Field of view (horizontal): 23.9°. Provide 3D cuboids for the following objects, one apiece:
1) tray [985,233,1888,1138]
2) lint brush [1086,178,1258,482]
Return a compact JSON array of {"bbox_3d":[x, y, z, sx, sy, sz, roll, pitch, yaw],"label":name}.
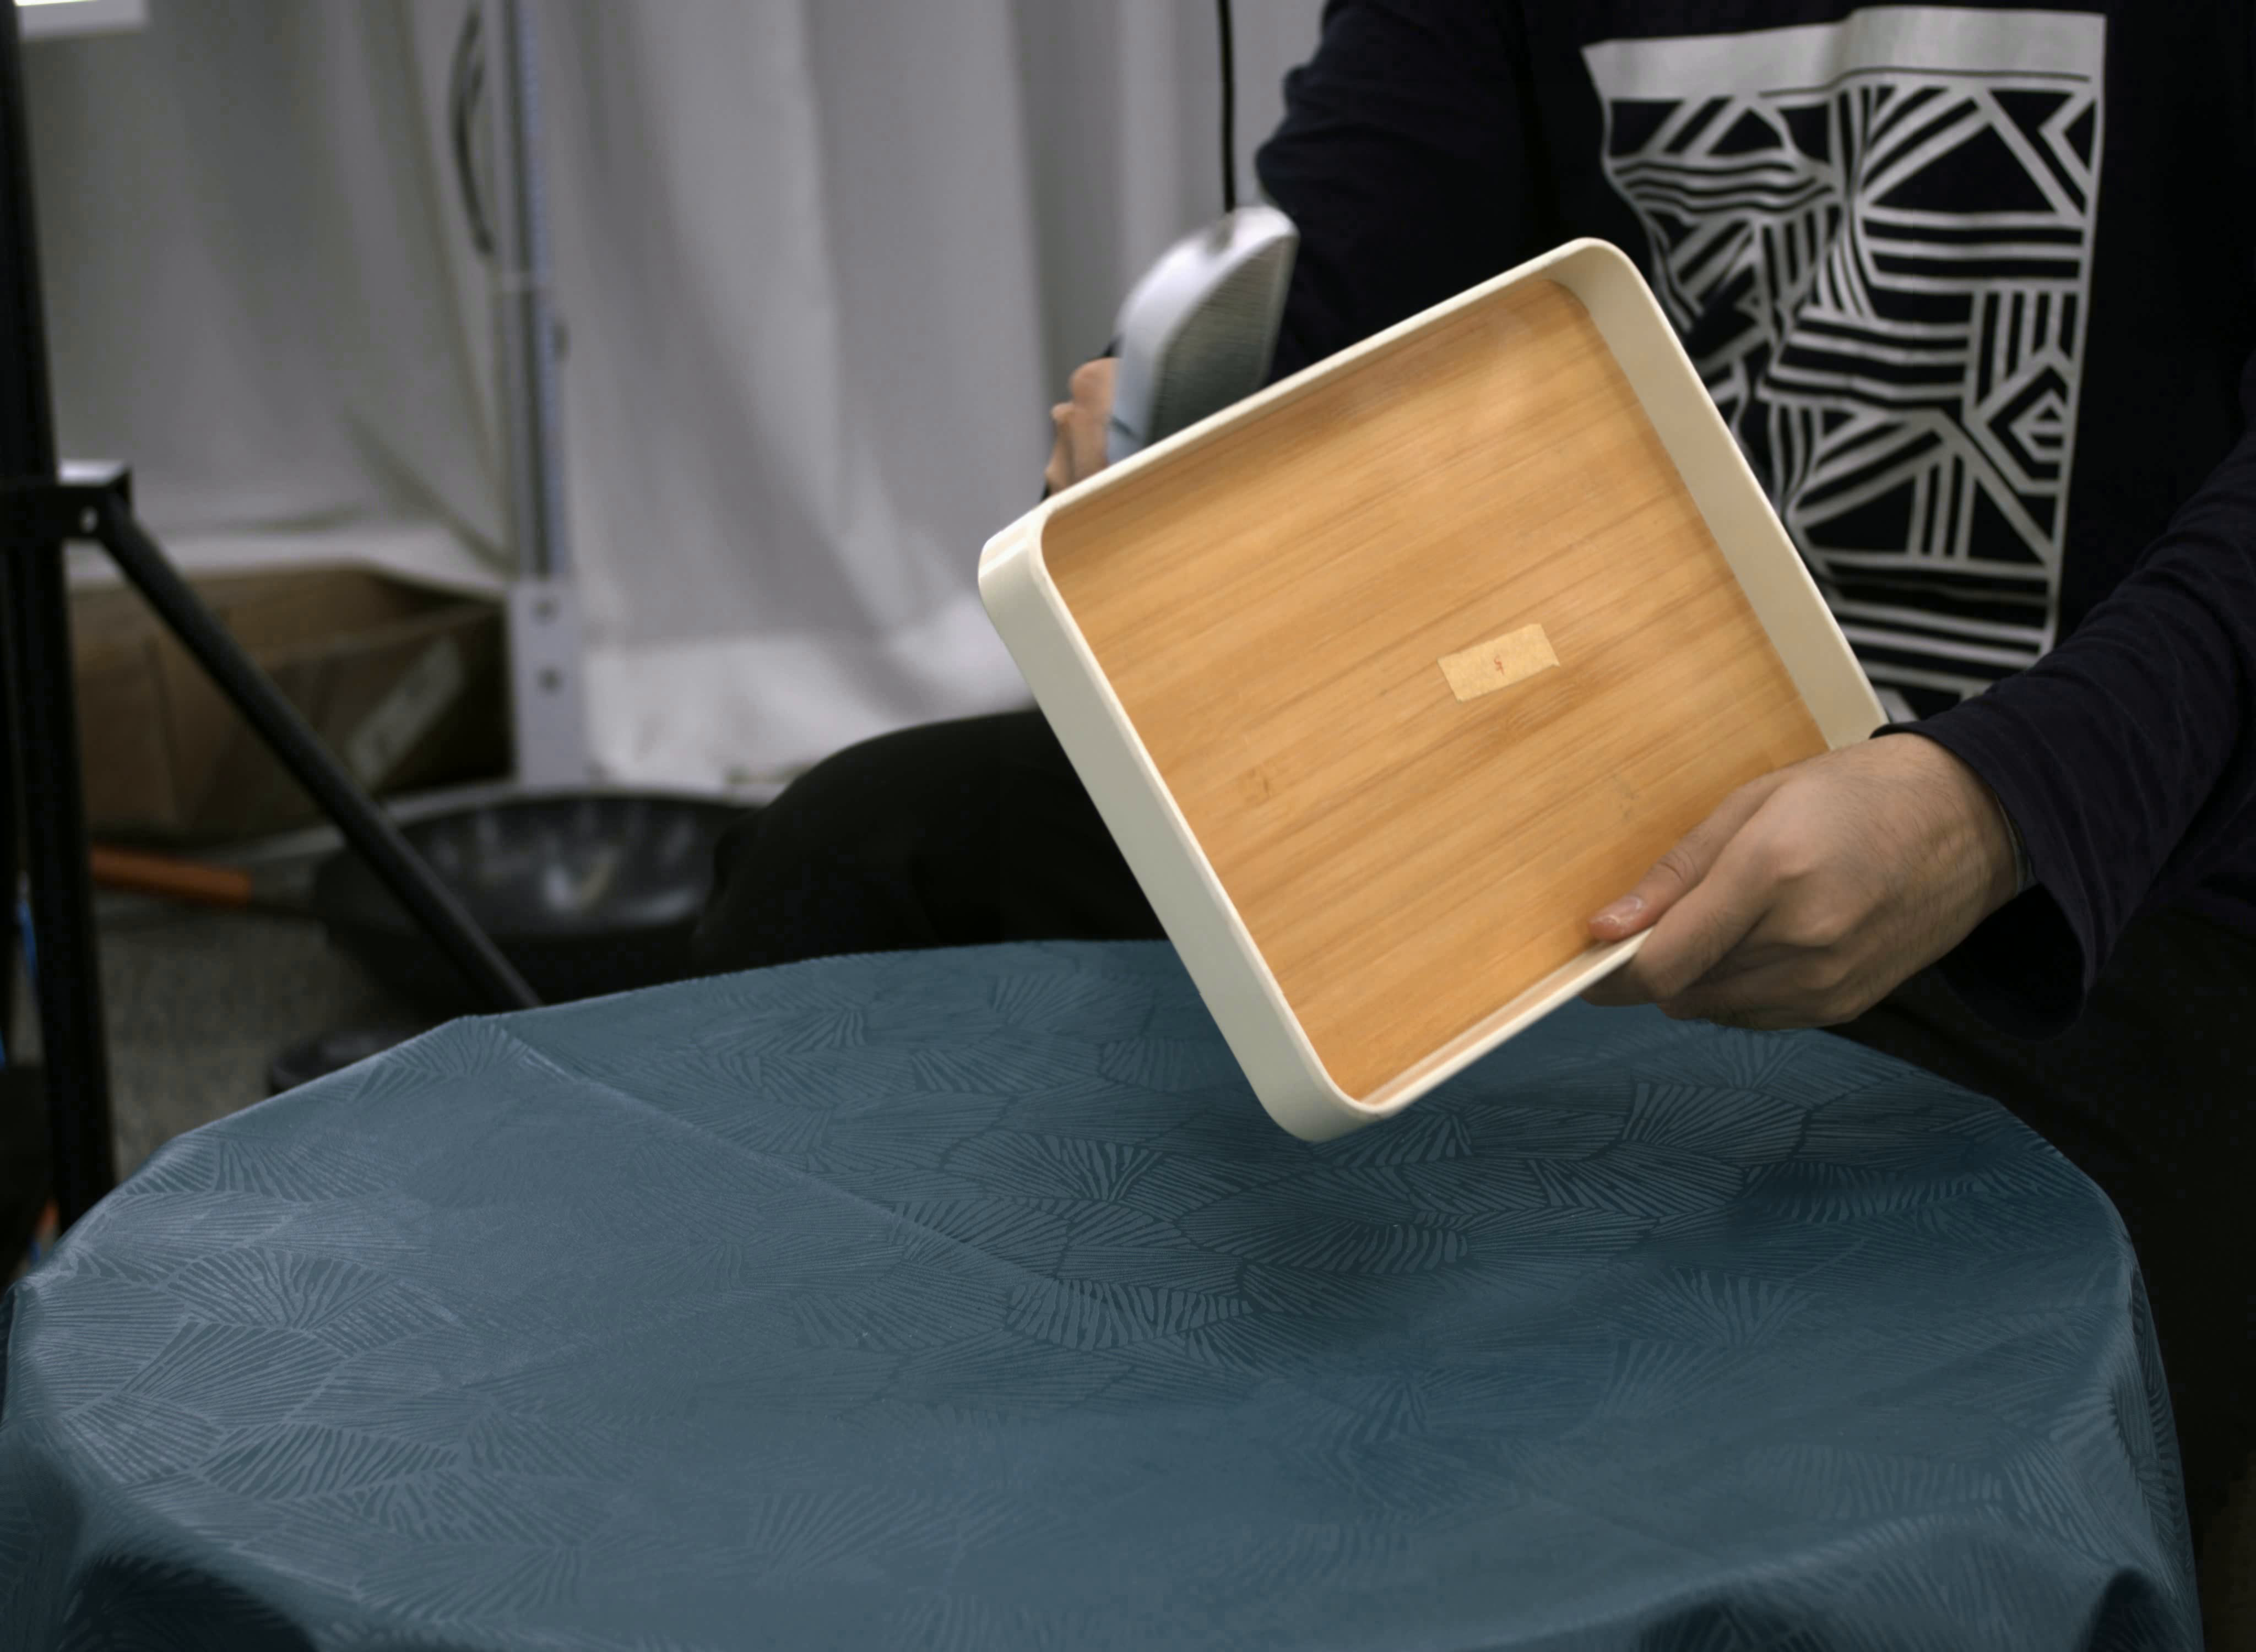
[{"bbox_3d":[0.096,-0.047,1.519,0.028,0.192,0.294,-30,-1,44],"label":"tray"},{"bbox_3d":[0.012,-0.128,1.613,0.060,0.021,0.308,-47,-8,-10],"label":"lint brush"}]
